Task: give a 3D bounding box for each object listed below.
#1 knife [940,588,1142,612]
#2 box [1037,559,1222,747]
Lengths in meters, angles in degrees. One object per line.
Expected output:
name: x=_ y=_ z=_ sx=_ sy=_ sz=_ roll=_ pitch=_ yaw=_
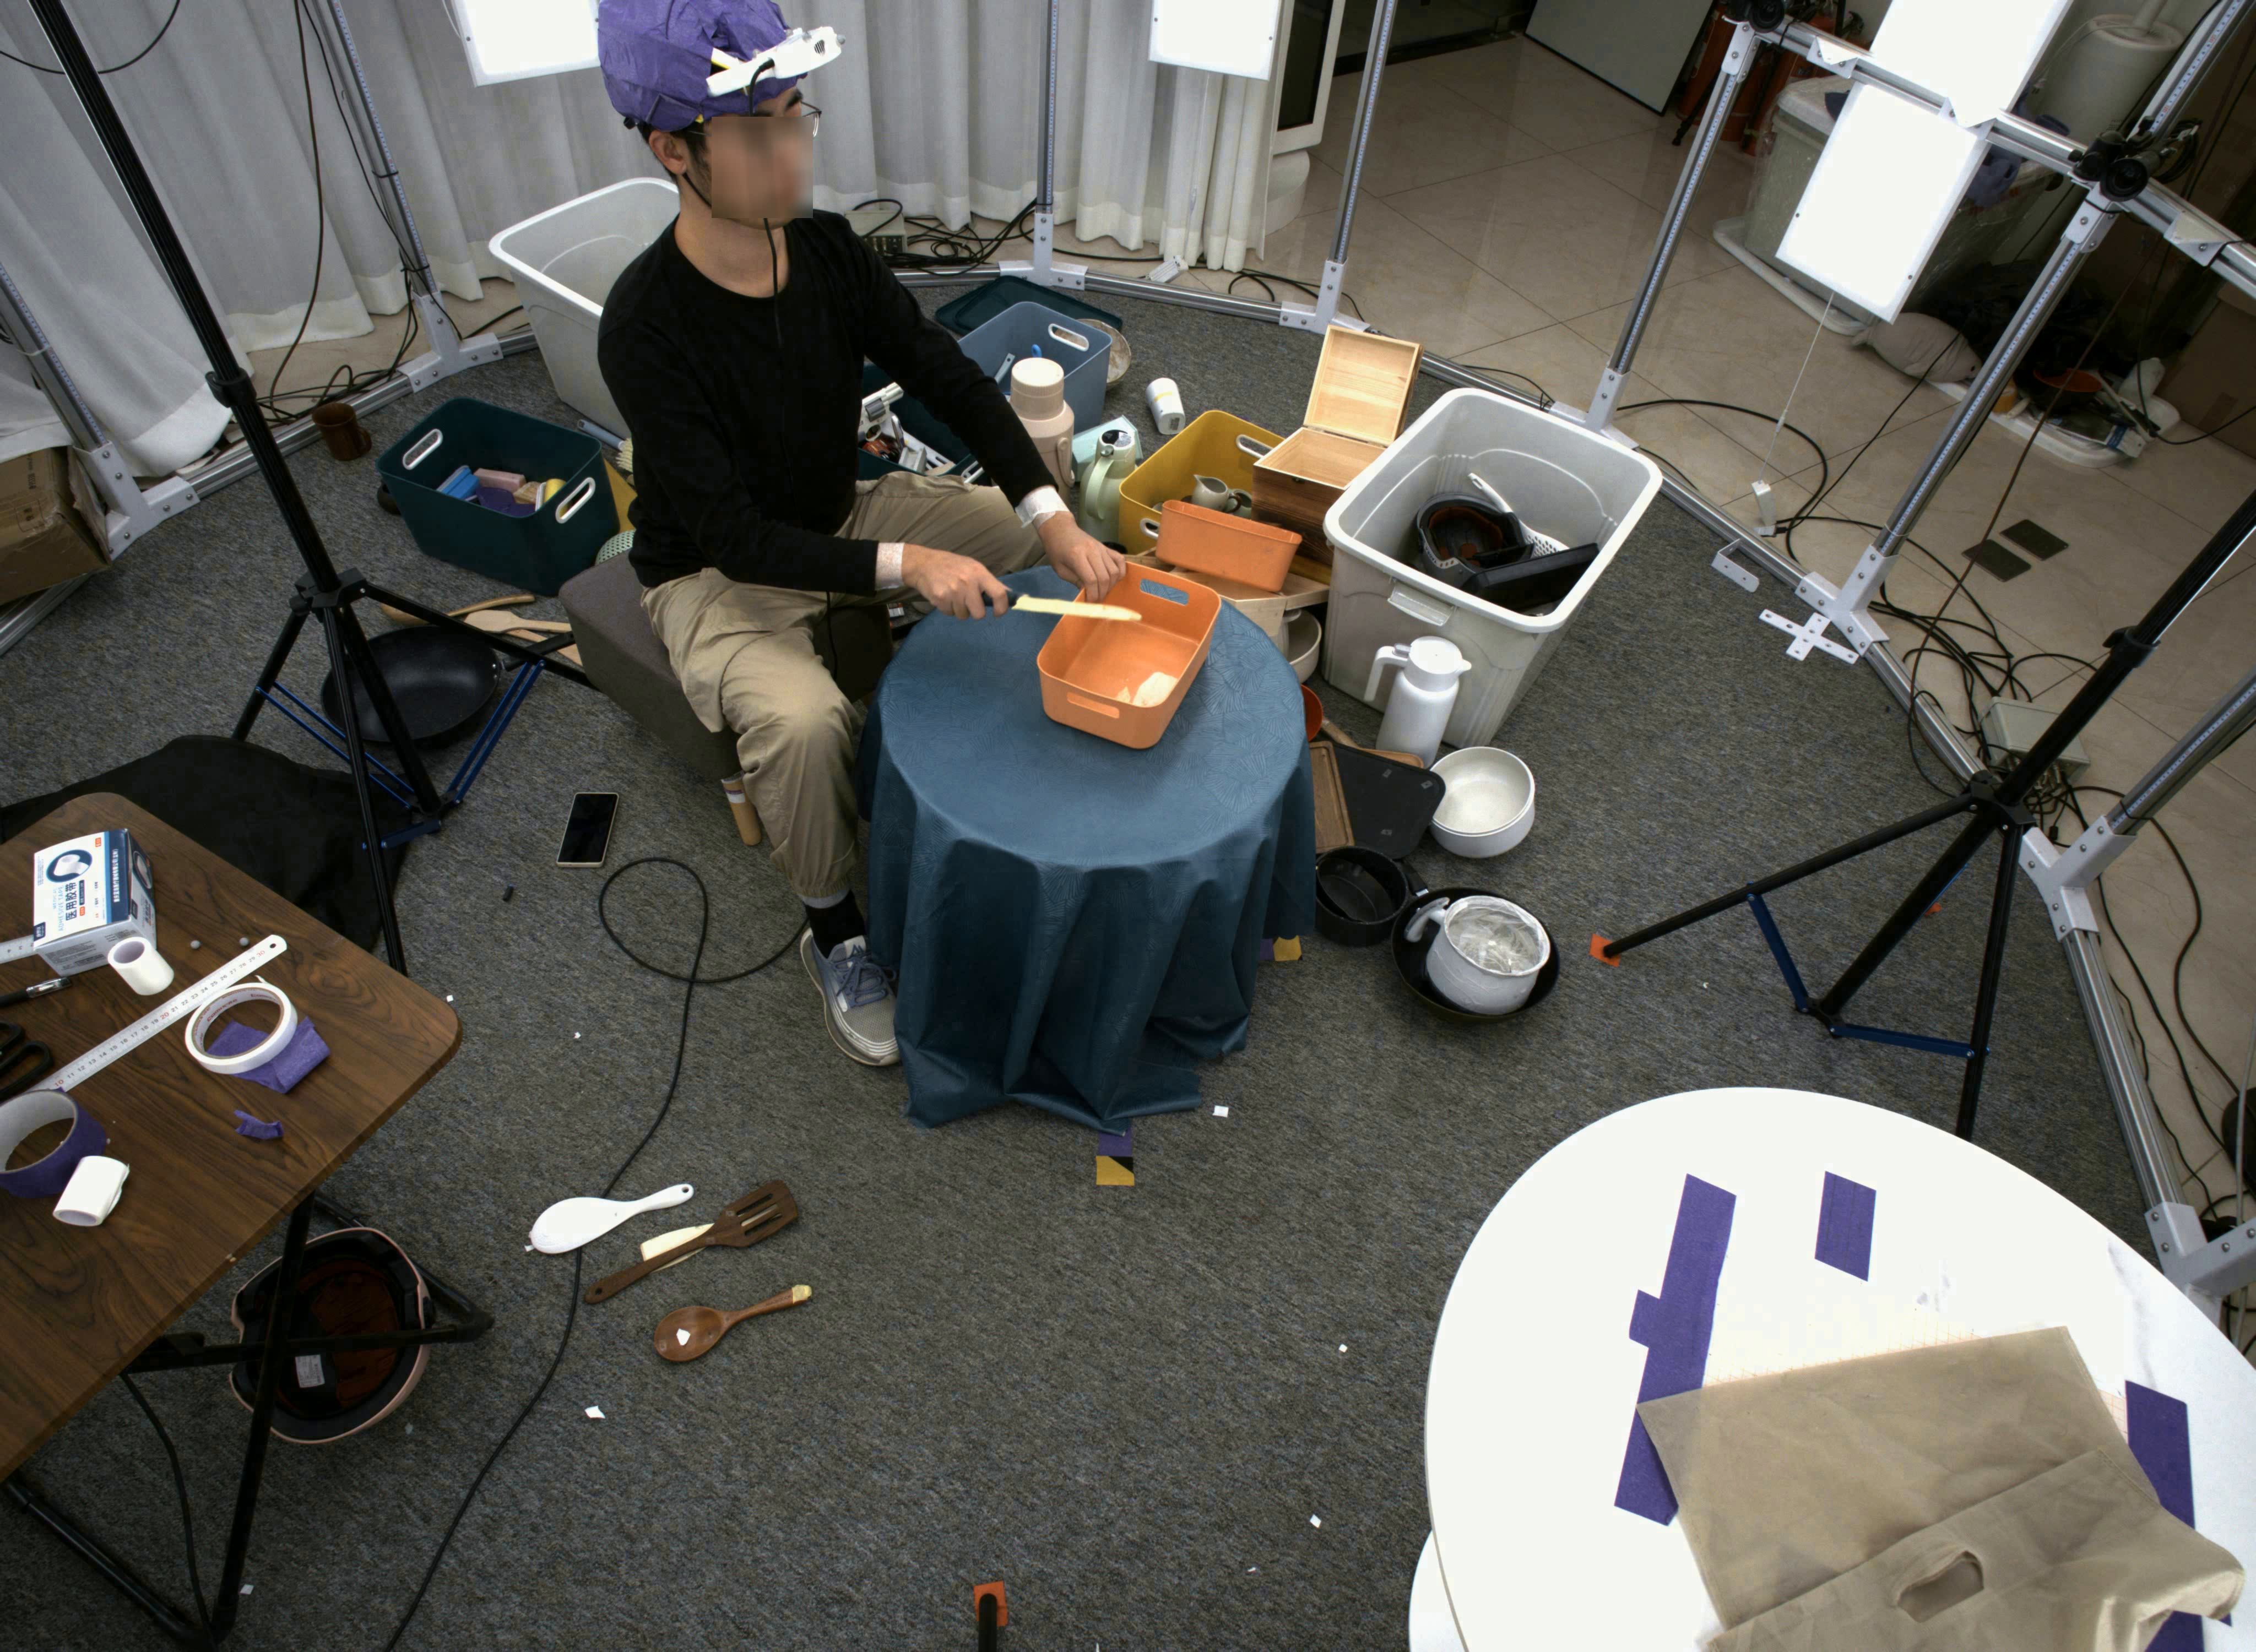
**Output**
knife: x=-0.121 y=-0.302 z=1.743 sx=0.290 sy=0.027 sz=0.082 roll=5 pitch=18 yaw=12
box: x=0.001 y=-0.243 z=1.813 sx=0.200 sy=0.100 sz=0.278 roll=20 pitch=51 yaw=12
